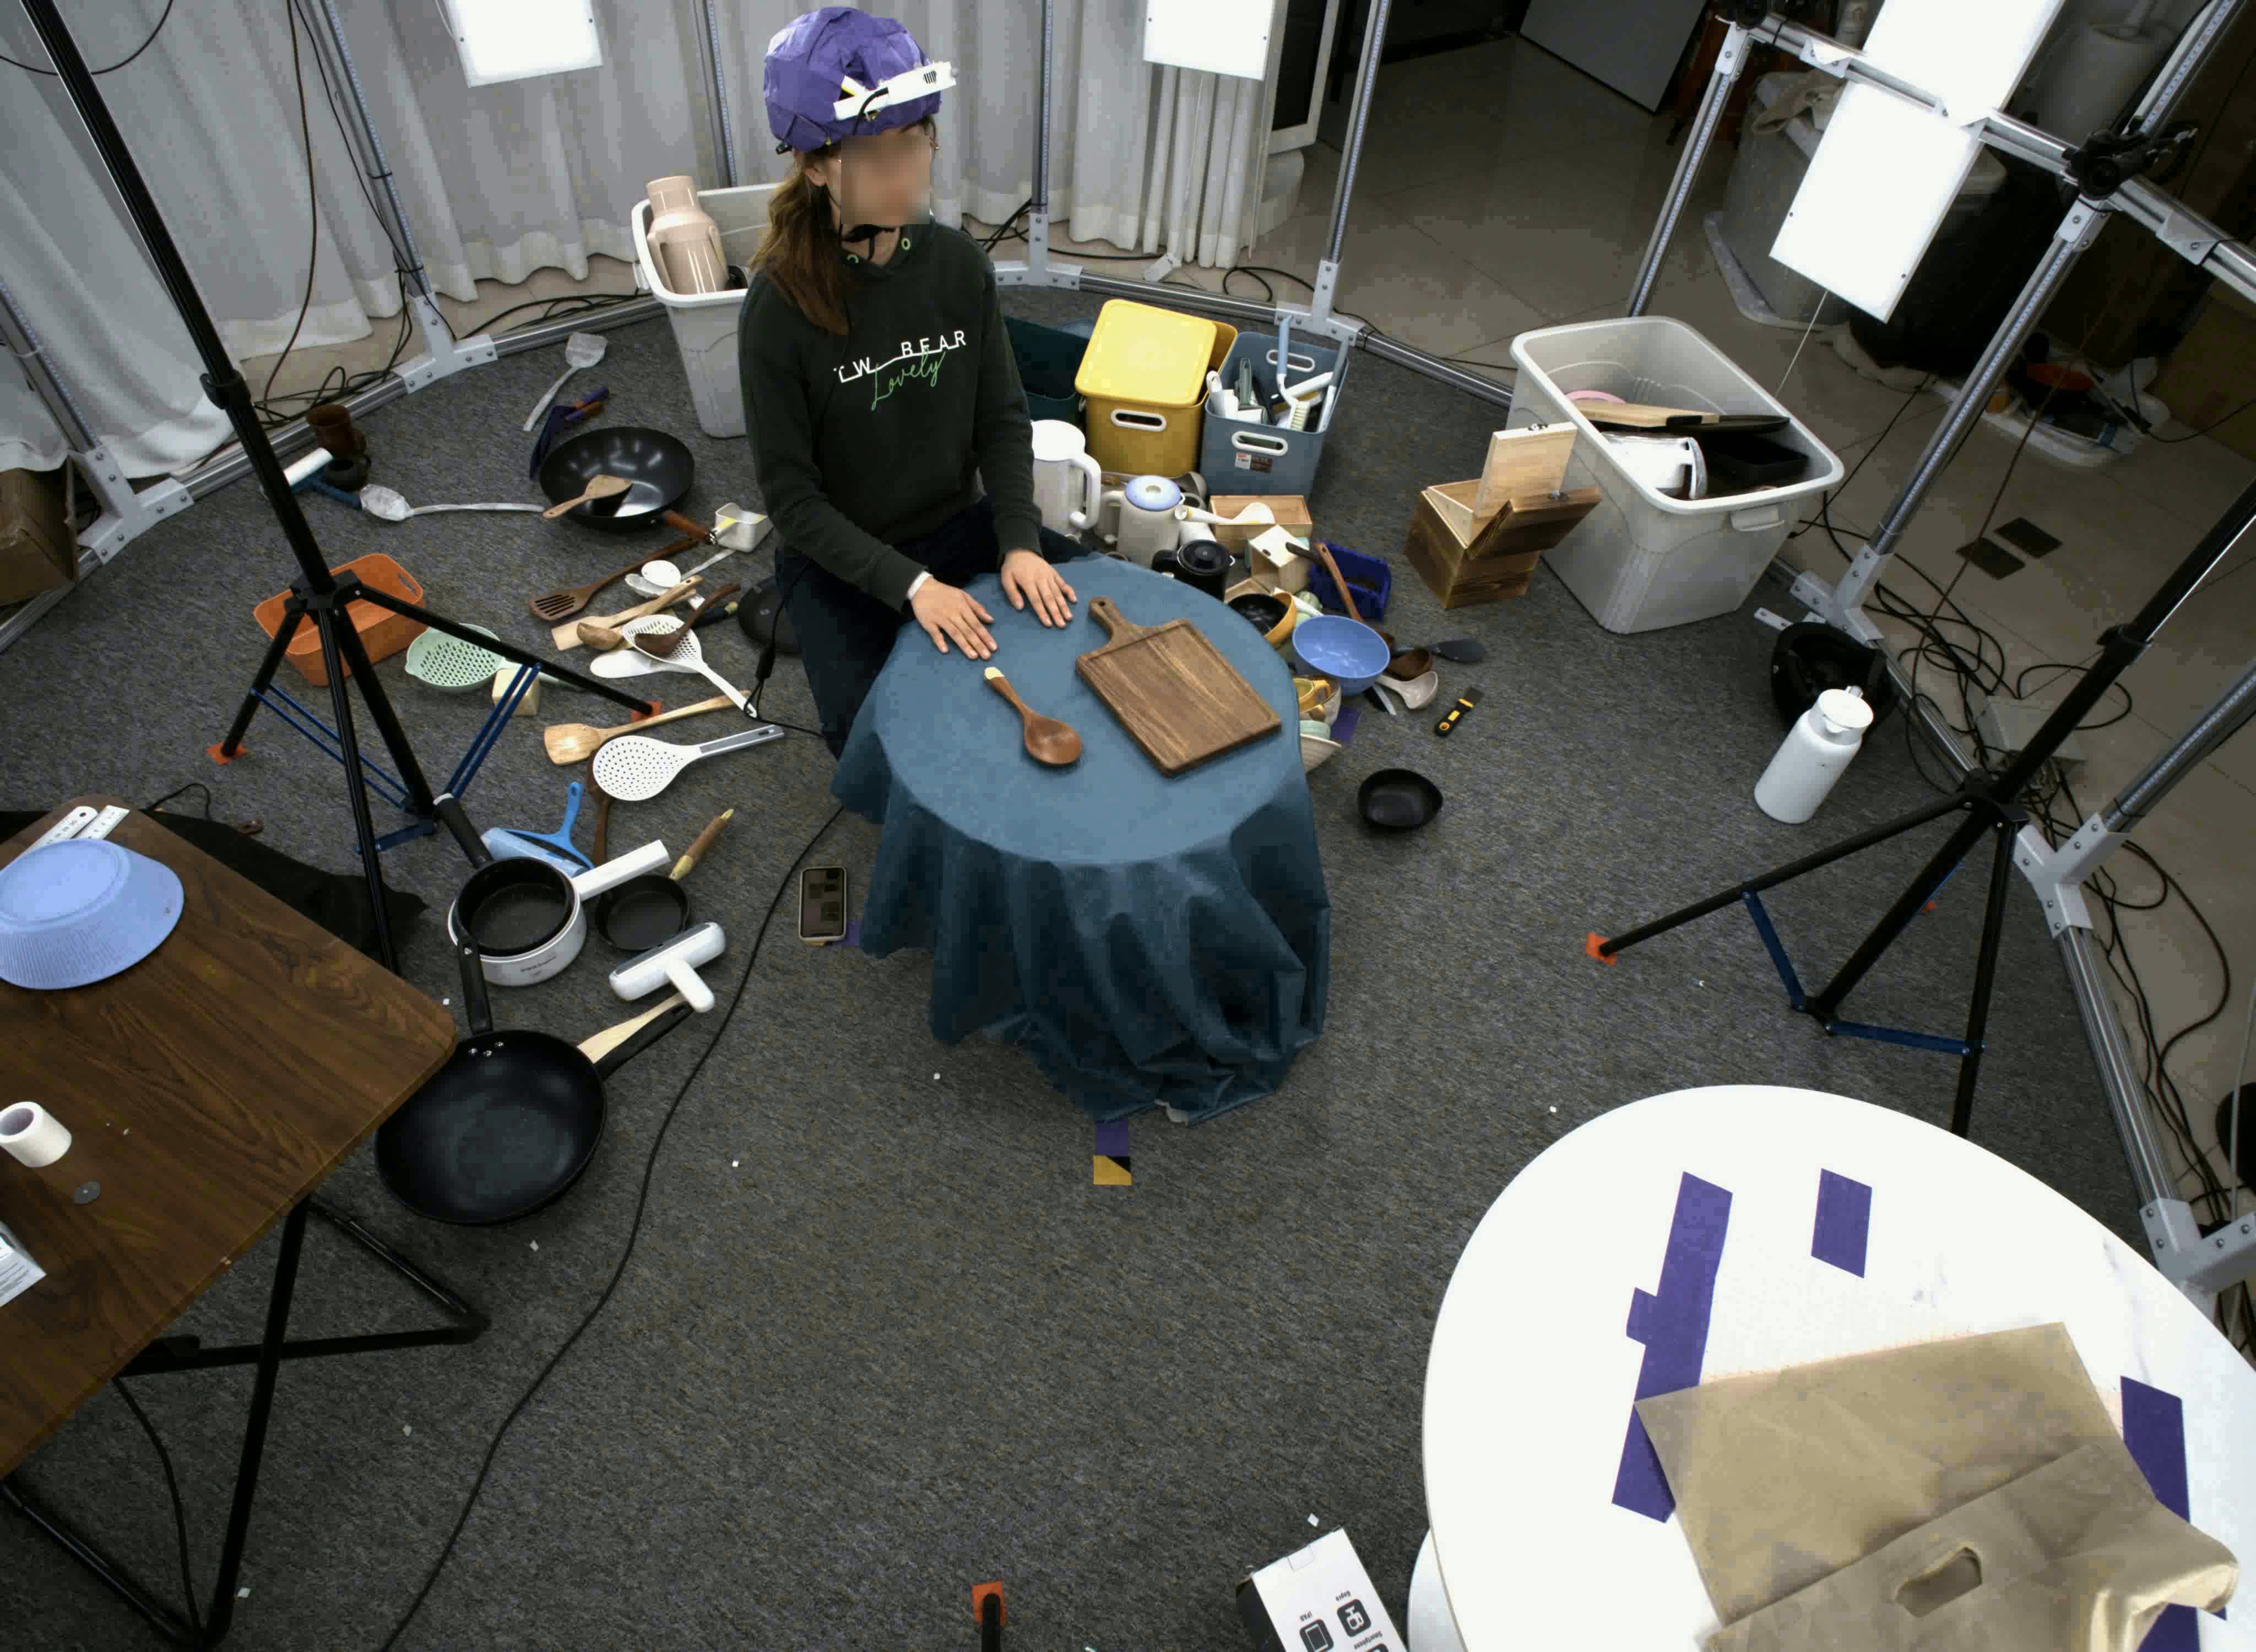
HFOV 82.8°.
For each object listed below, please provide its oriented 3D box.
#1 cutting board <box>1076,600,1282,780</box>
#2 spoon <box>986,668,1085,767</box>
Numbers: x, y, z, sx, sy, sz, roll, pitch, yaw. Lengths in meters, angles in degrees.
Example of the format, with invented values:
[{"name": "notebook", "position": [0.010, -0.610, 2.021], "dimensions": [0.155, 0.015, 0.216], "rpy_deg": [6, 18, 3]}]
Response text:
[{"name": "cutting board", "position": [0.045, -0.220, 1.868], "dimensions": [0.202, 0.022, 0.359], "rpy_deg": [-24, 54, -21]}, {"name": "spoon", "position": [-0.136, -0.153, 1.797], "dimensions": [0.076, 0.017, 0.220], "rpy_deg": [-26, 56, -22]}]
